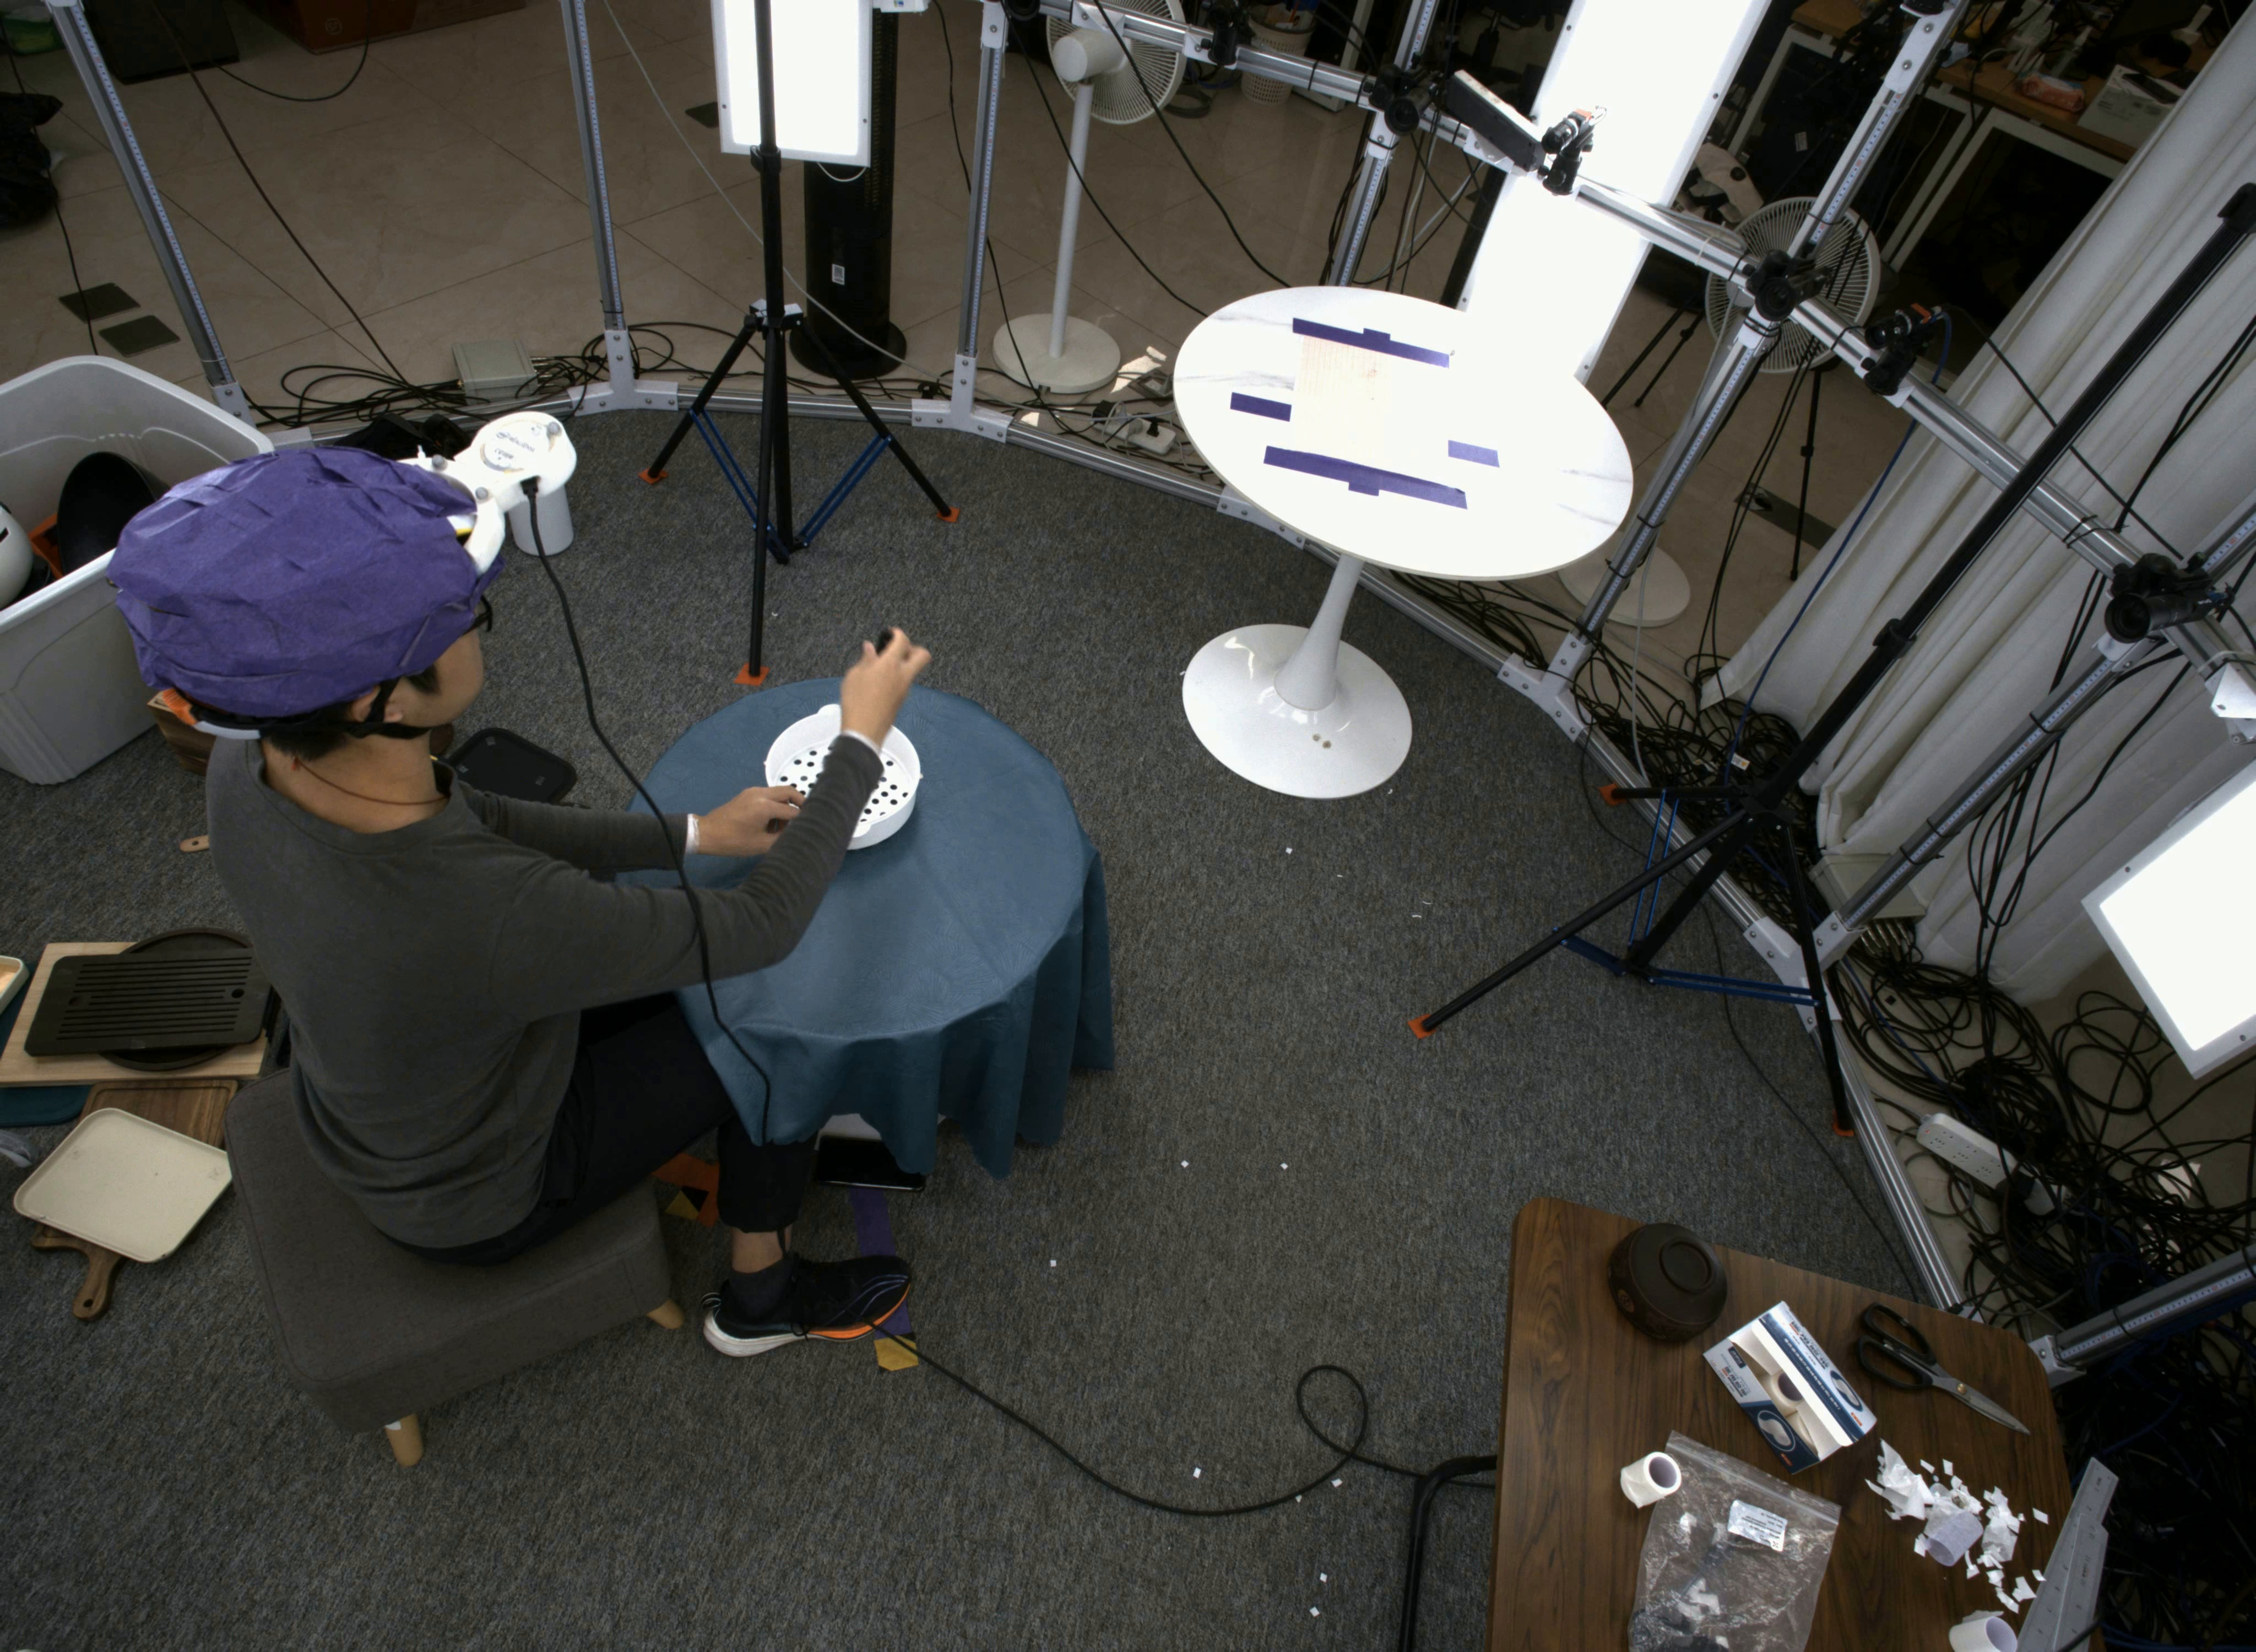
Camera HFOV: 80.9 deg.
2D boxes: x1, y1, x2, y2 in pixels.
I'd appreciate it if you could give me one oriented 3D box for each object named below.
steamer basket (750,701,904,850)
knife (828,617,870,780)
[{"bbox_3d":[-0.403,-0.062,1.743,0.202,0.070,0.226,0,55,-13],"label":"steamer basket"},{"bbox_3d":[-0.345,-0.148,1.577,0.025,0.242,0.016,-18,52,-41],"label":"knife"}]
